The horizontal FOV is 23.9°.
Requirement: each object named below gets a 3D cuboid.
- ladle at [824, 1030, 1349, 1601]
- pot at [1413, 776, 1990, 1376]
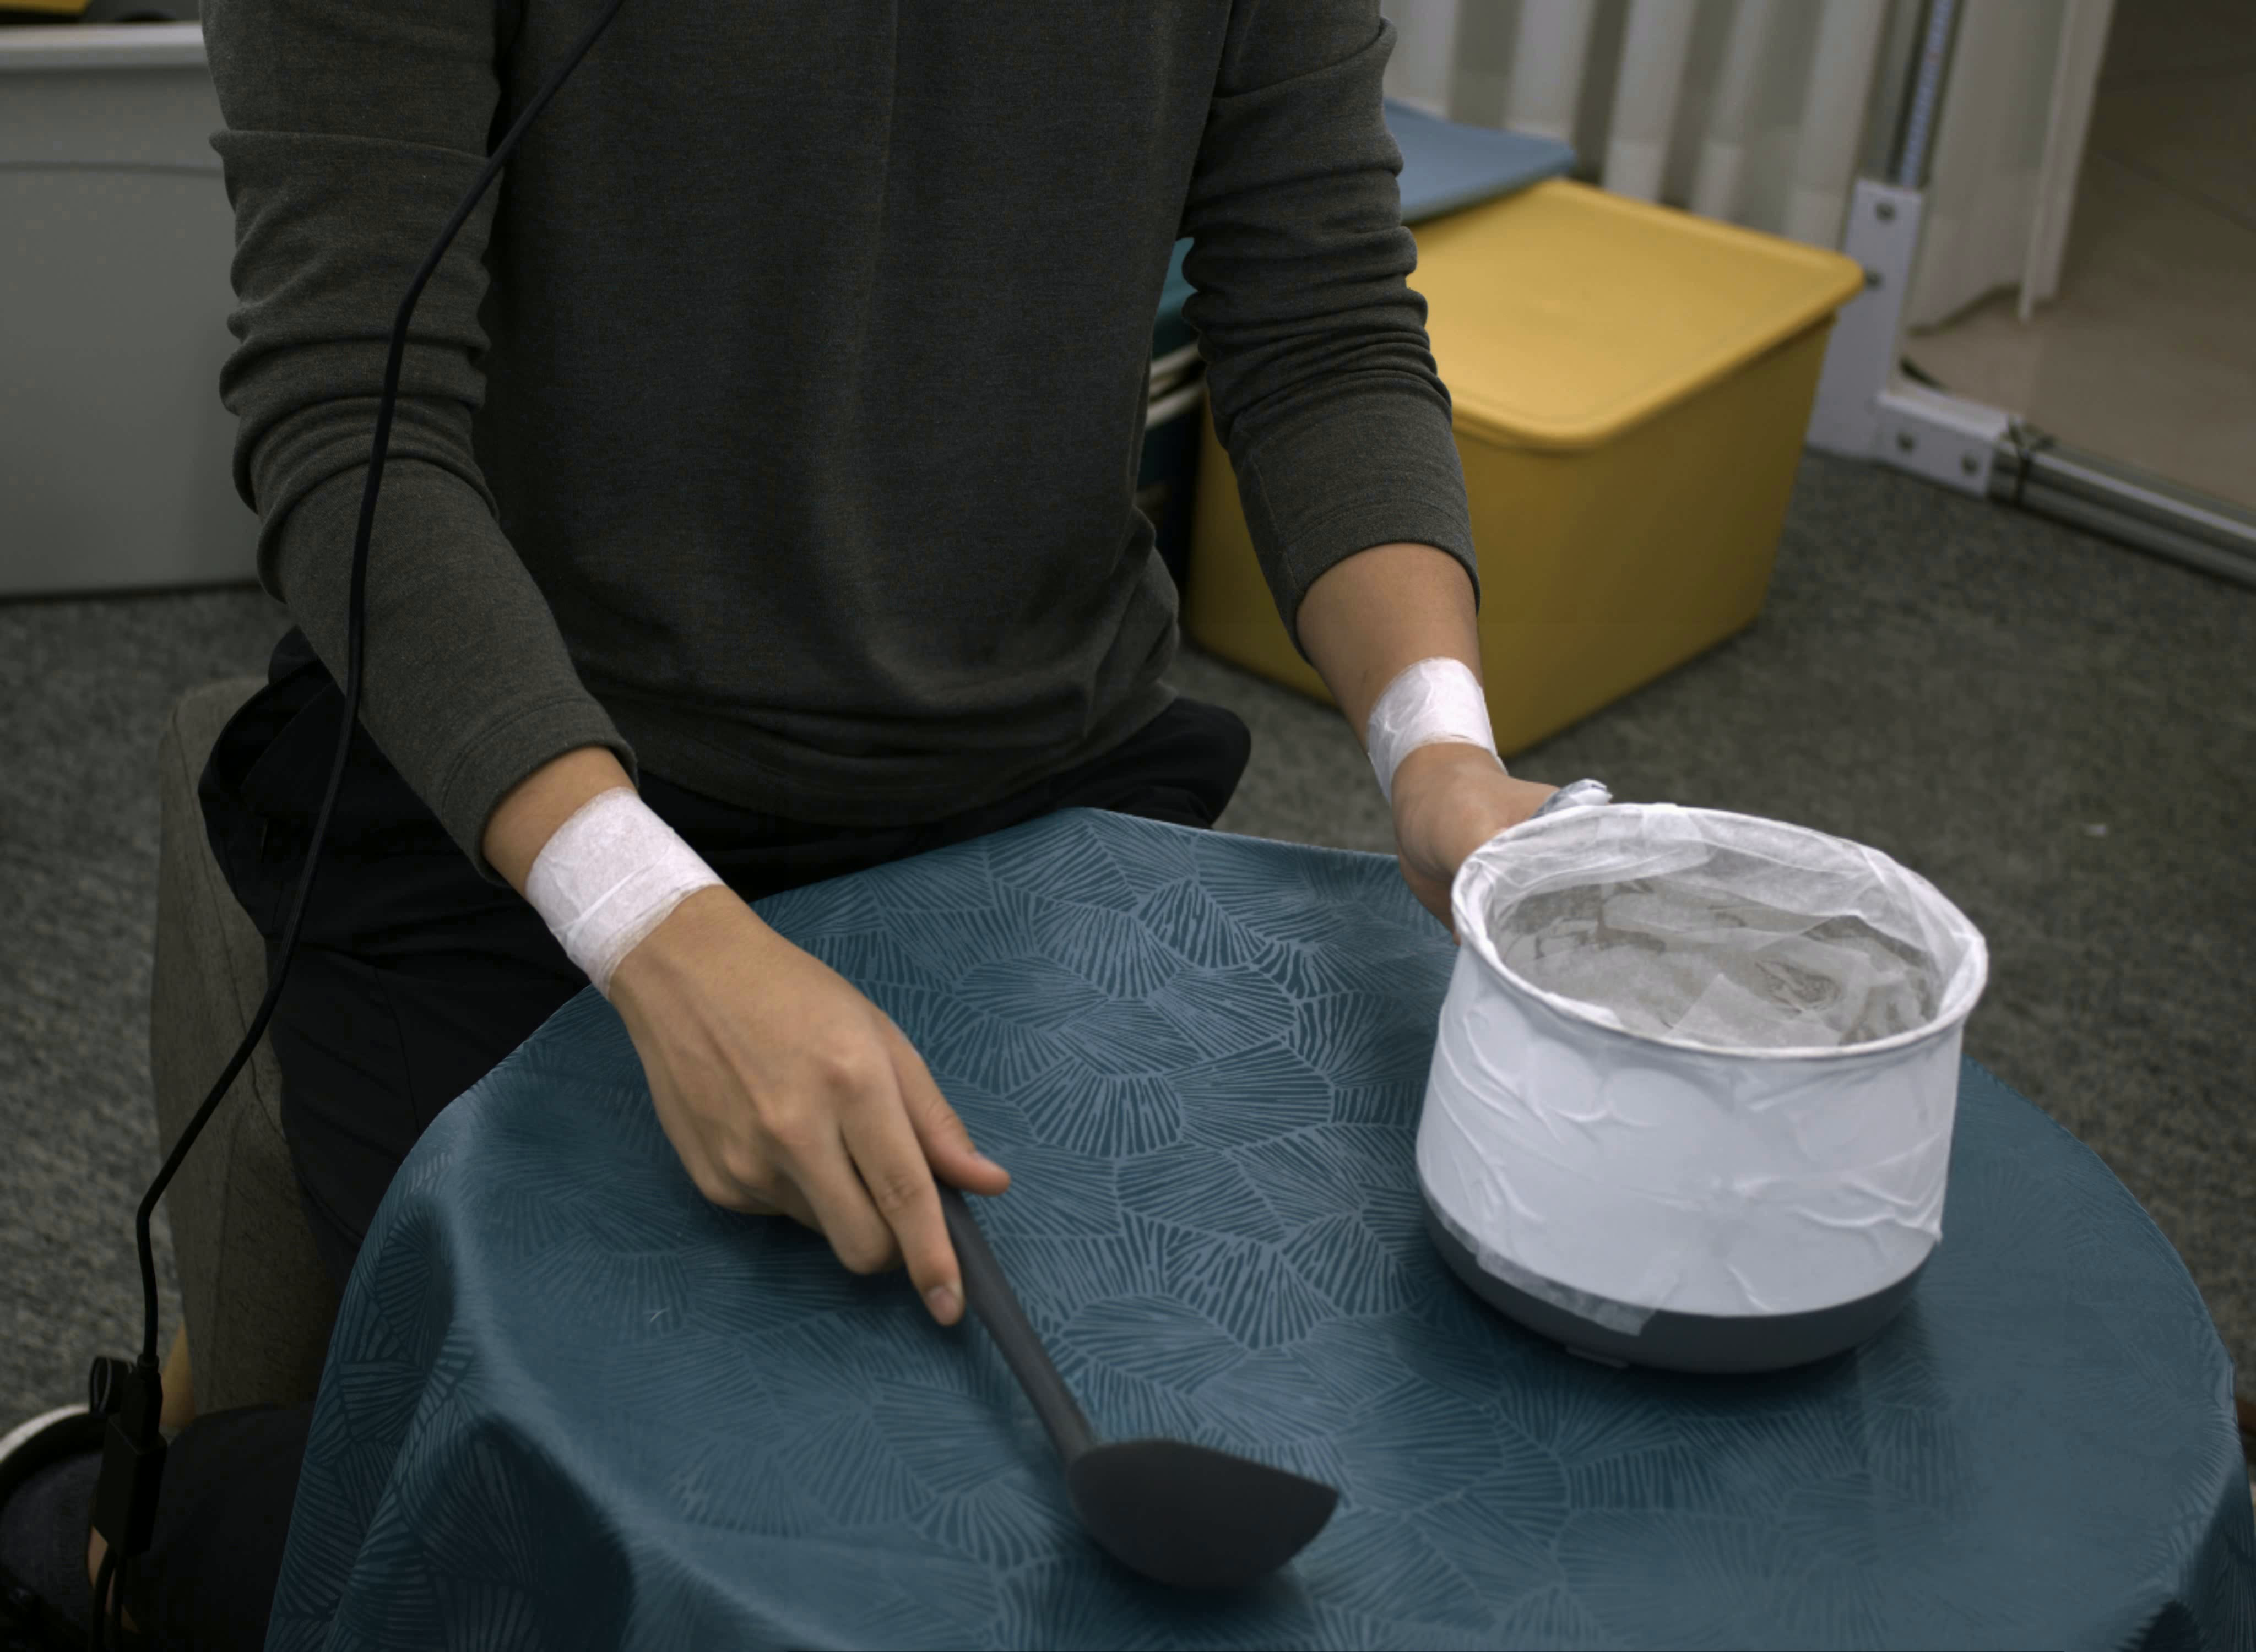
[{"bbox_3d":[-0.027,0.137,1.683,0.085,0.064,0.317,30,15,-37],"label":"ladle"},{"bbox_3d":[0.176,0.076,1.787,0.177,0.136,0.236,-5,28,-22],"label":"pot"}]
